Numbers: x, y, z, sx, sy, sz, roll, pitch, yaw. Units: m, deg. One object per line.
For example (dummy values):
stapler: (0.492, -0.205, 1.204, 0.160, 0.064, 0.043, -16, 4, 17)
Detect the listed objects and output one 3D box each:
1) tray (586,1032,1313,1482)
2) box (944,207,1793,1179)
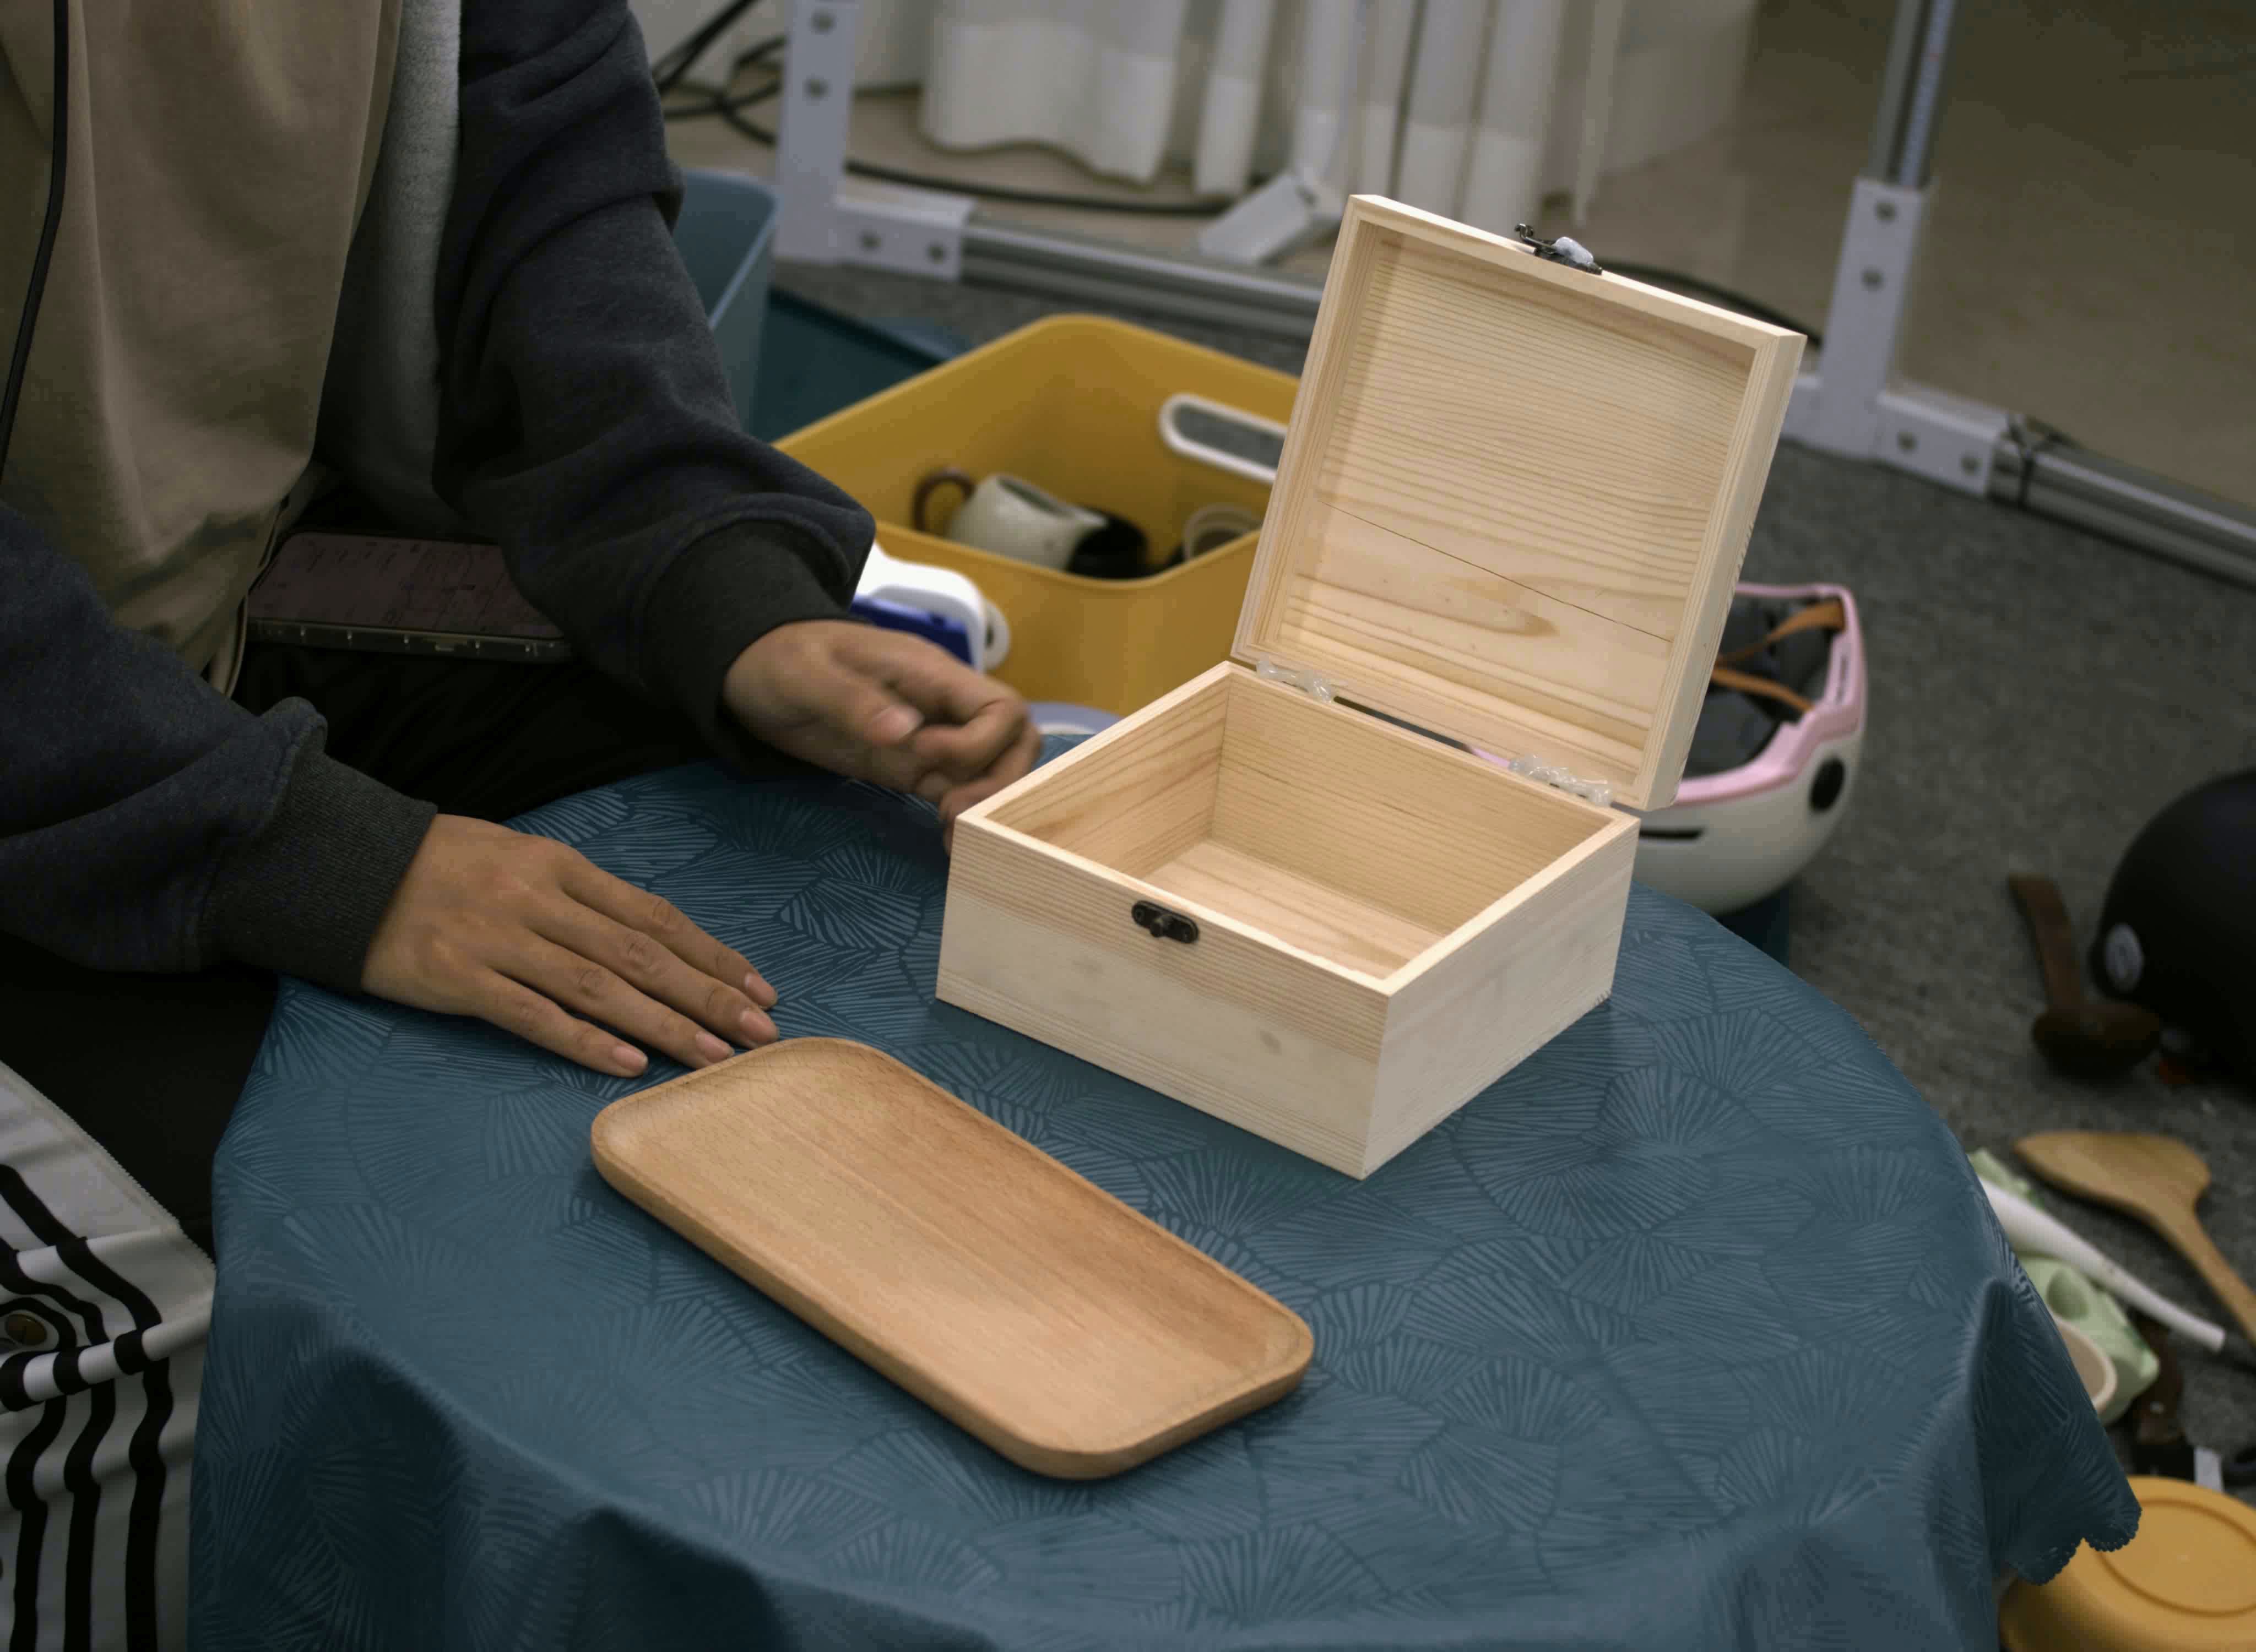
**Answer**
tray: (-0.061, 0.138, 1.740, 0.130, 0.023, 0.252, -16, 34, -42)
box: (0.085, -0.057, 1.907, 0.182, 0.252, 0.264, 19, 28, 28)
